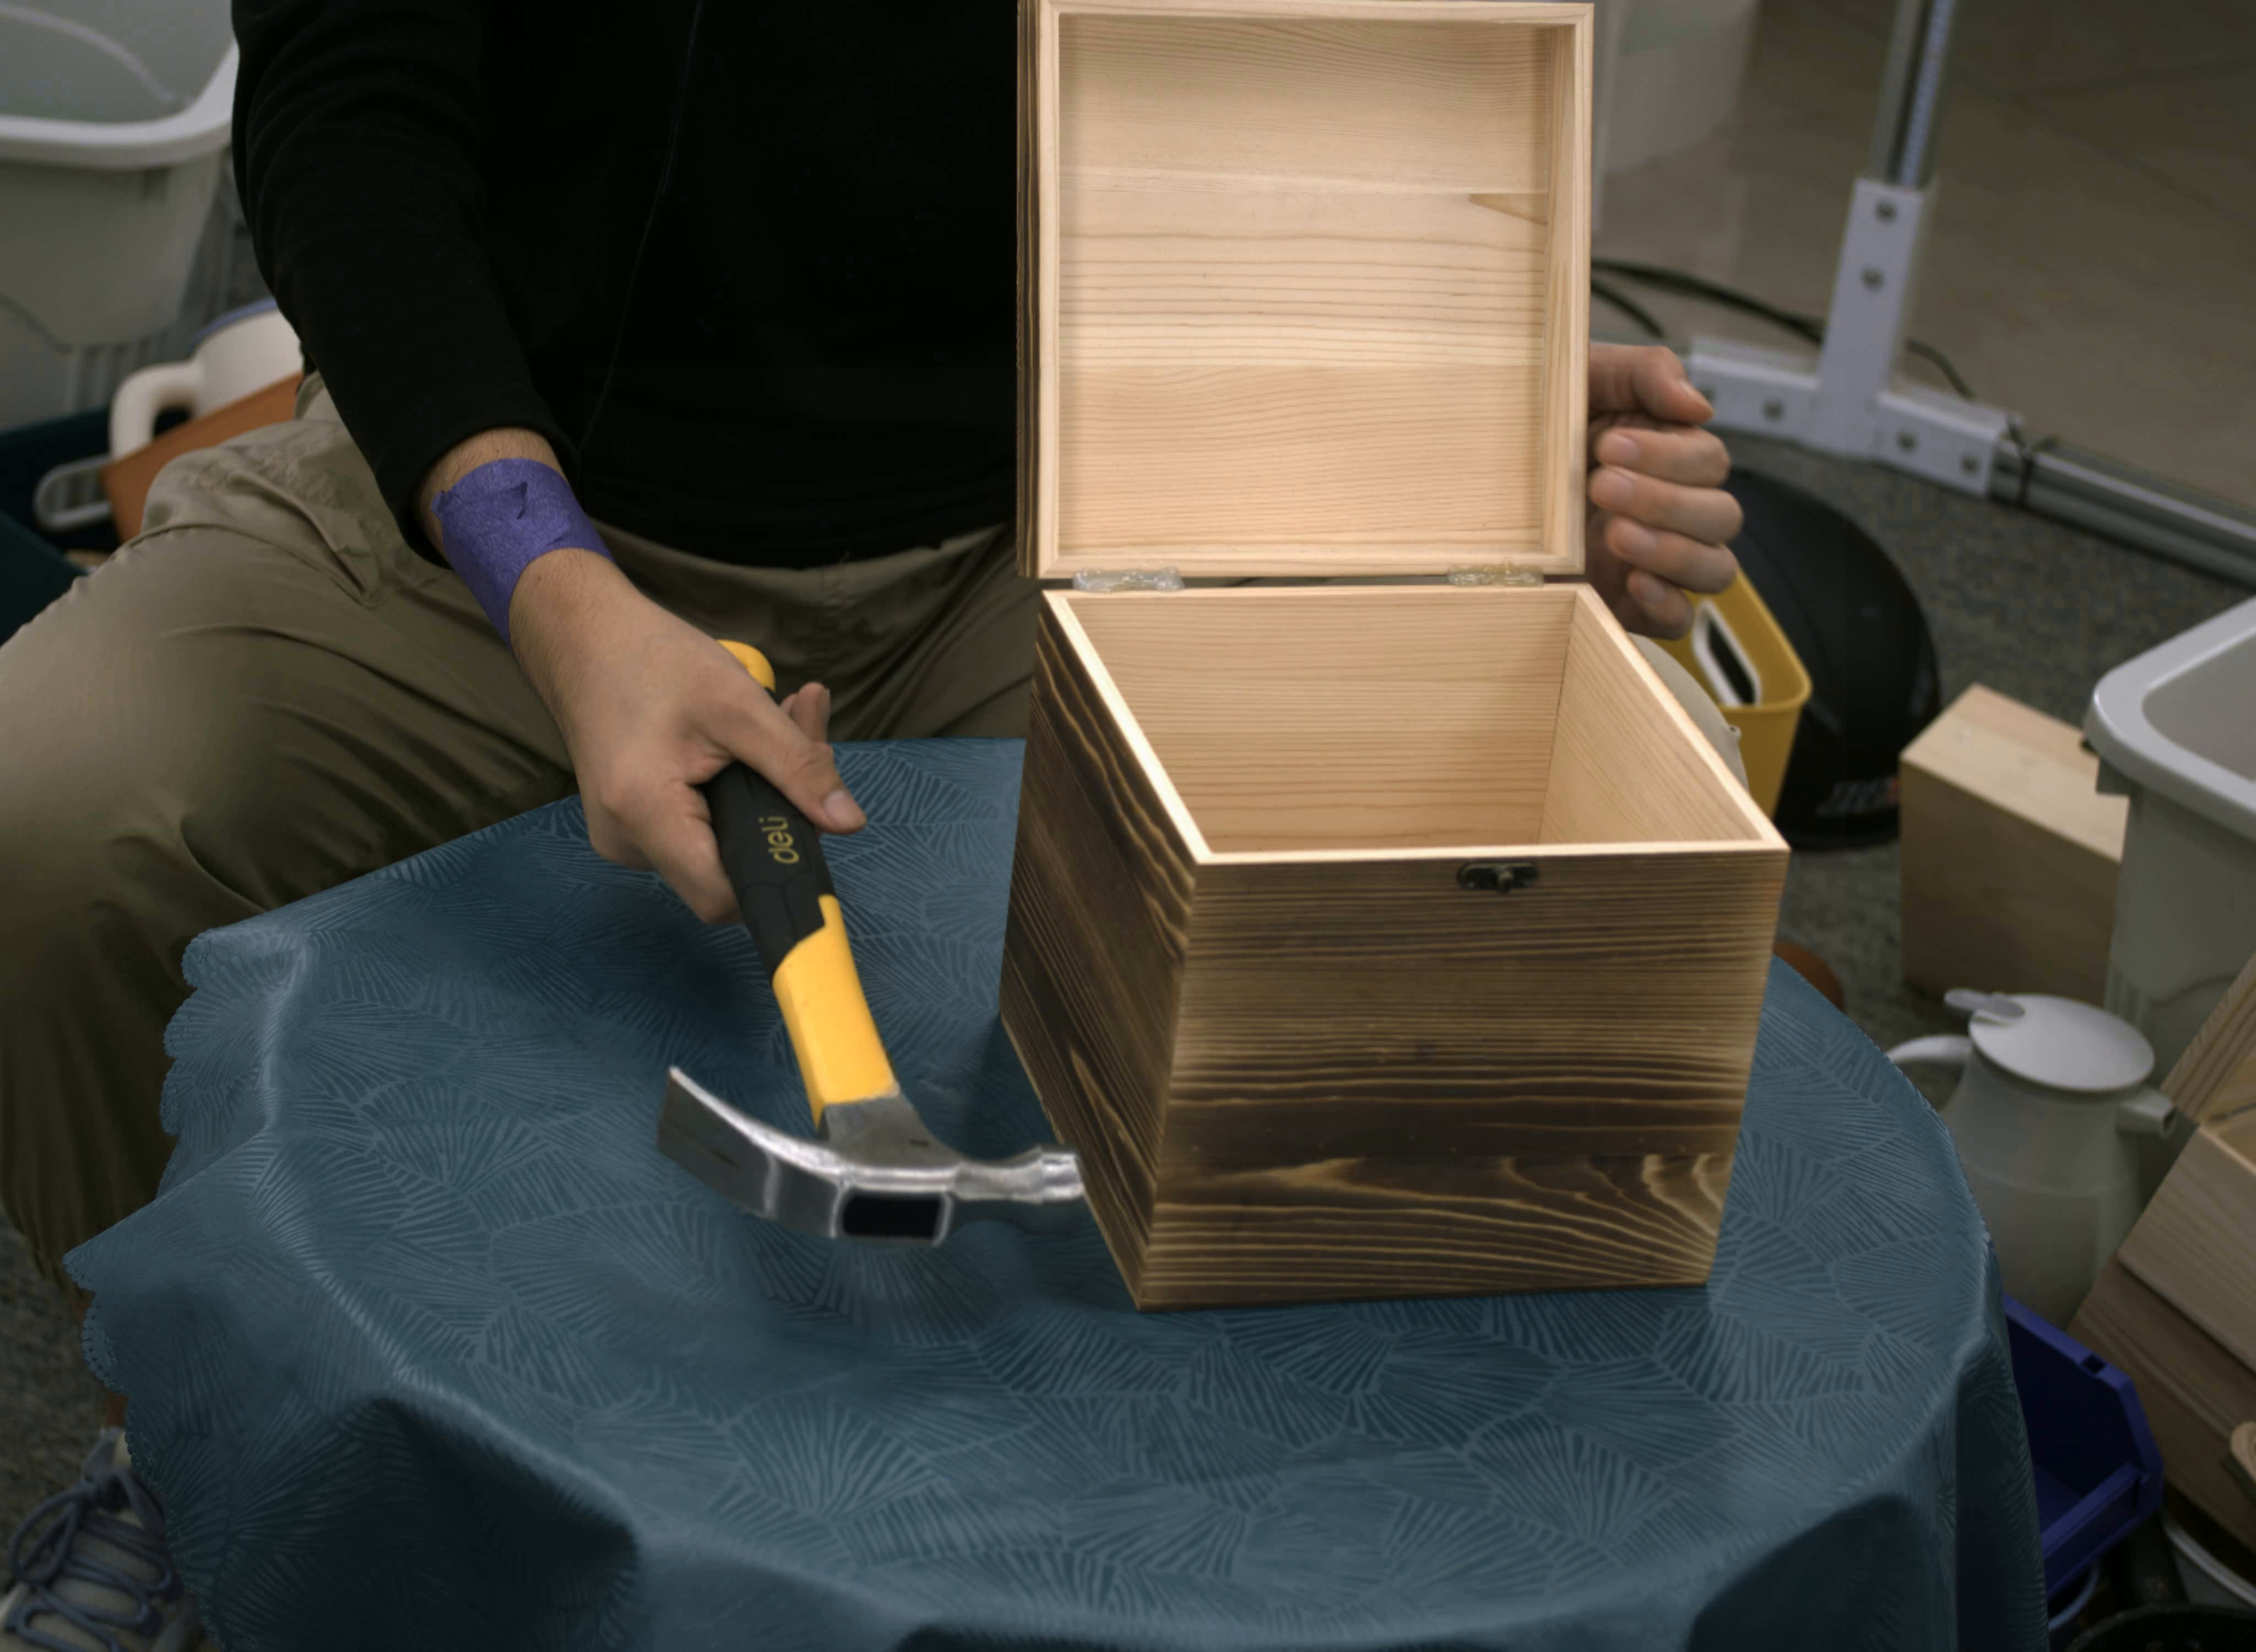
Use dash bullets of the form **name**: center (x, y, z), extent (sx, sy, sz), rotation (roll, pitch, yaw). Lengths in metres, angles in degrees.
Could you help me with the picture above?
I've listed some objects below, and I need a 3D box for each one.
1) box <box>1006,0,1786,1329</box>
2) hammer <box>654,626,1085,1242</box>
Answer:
- **box**: center (0.078, -0.071, 1.812), extent (0.207, 0.374, 0.325), rotation (-2, 27, -15)
- **hammer**: center (-0.113, 0.028, 1.813), extent (0.130, 0.032, 0.341), rotation (2, 33, -16)
